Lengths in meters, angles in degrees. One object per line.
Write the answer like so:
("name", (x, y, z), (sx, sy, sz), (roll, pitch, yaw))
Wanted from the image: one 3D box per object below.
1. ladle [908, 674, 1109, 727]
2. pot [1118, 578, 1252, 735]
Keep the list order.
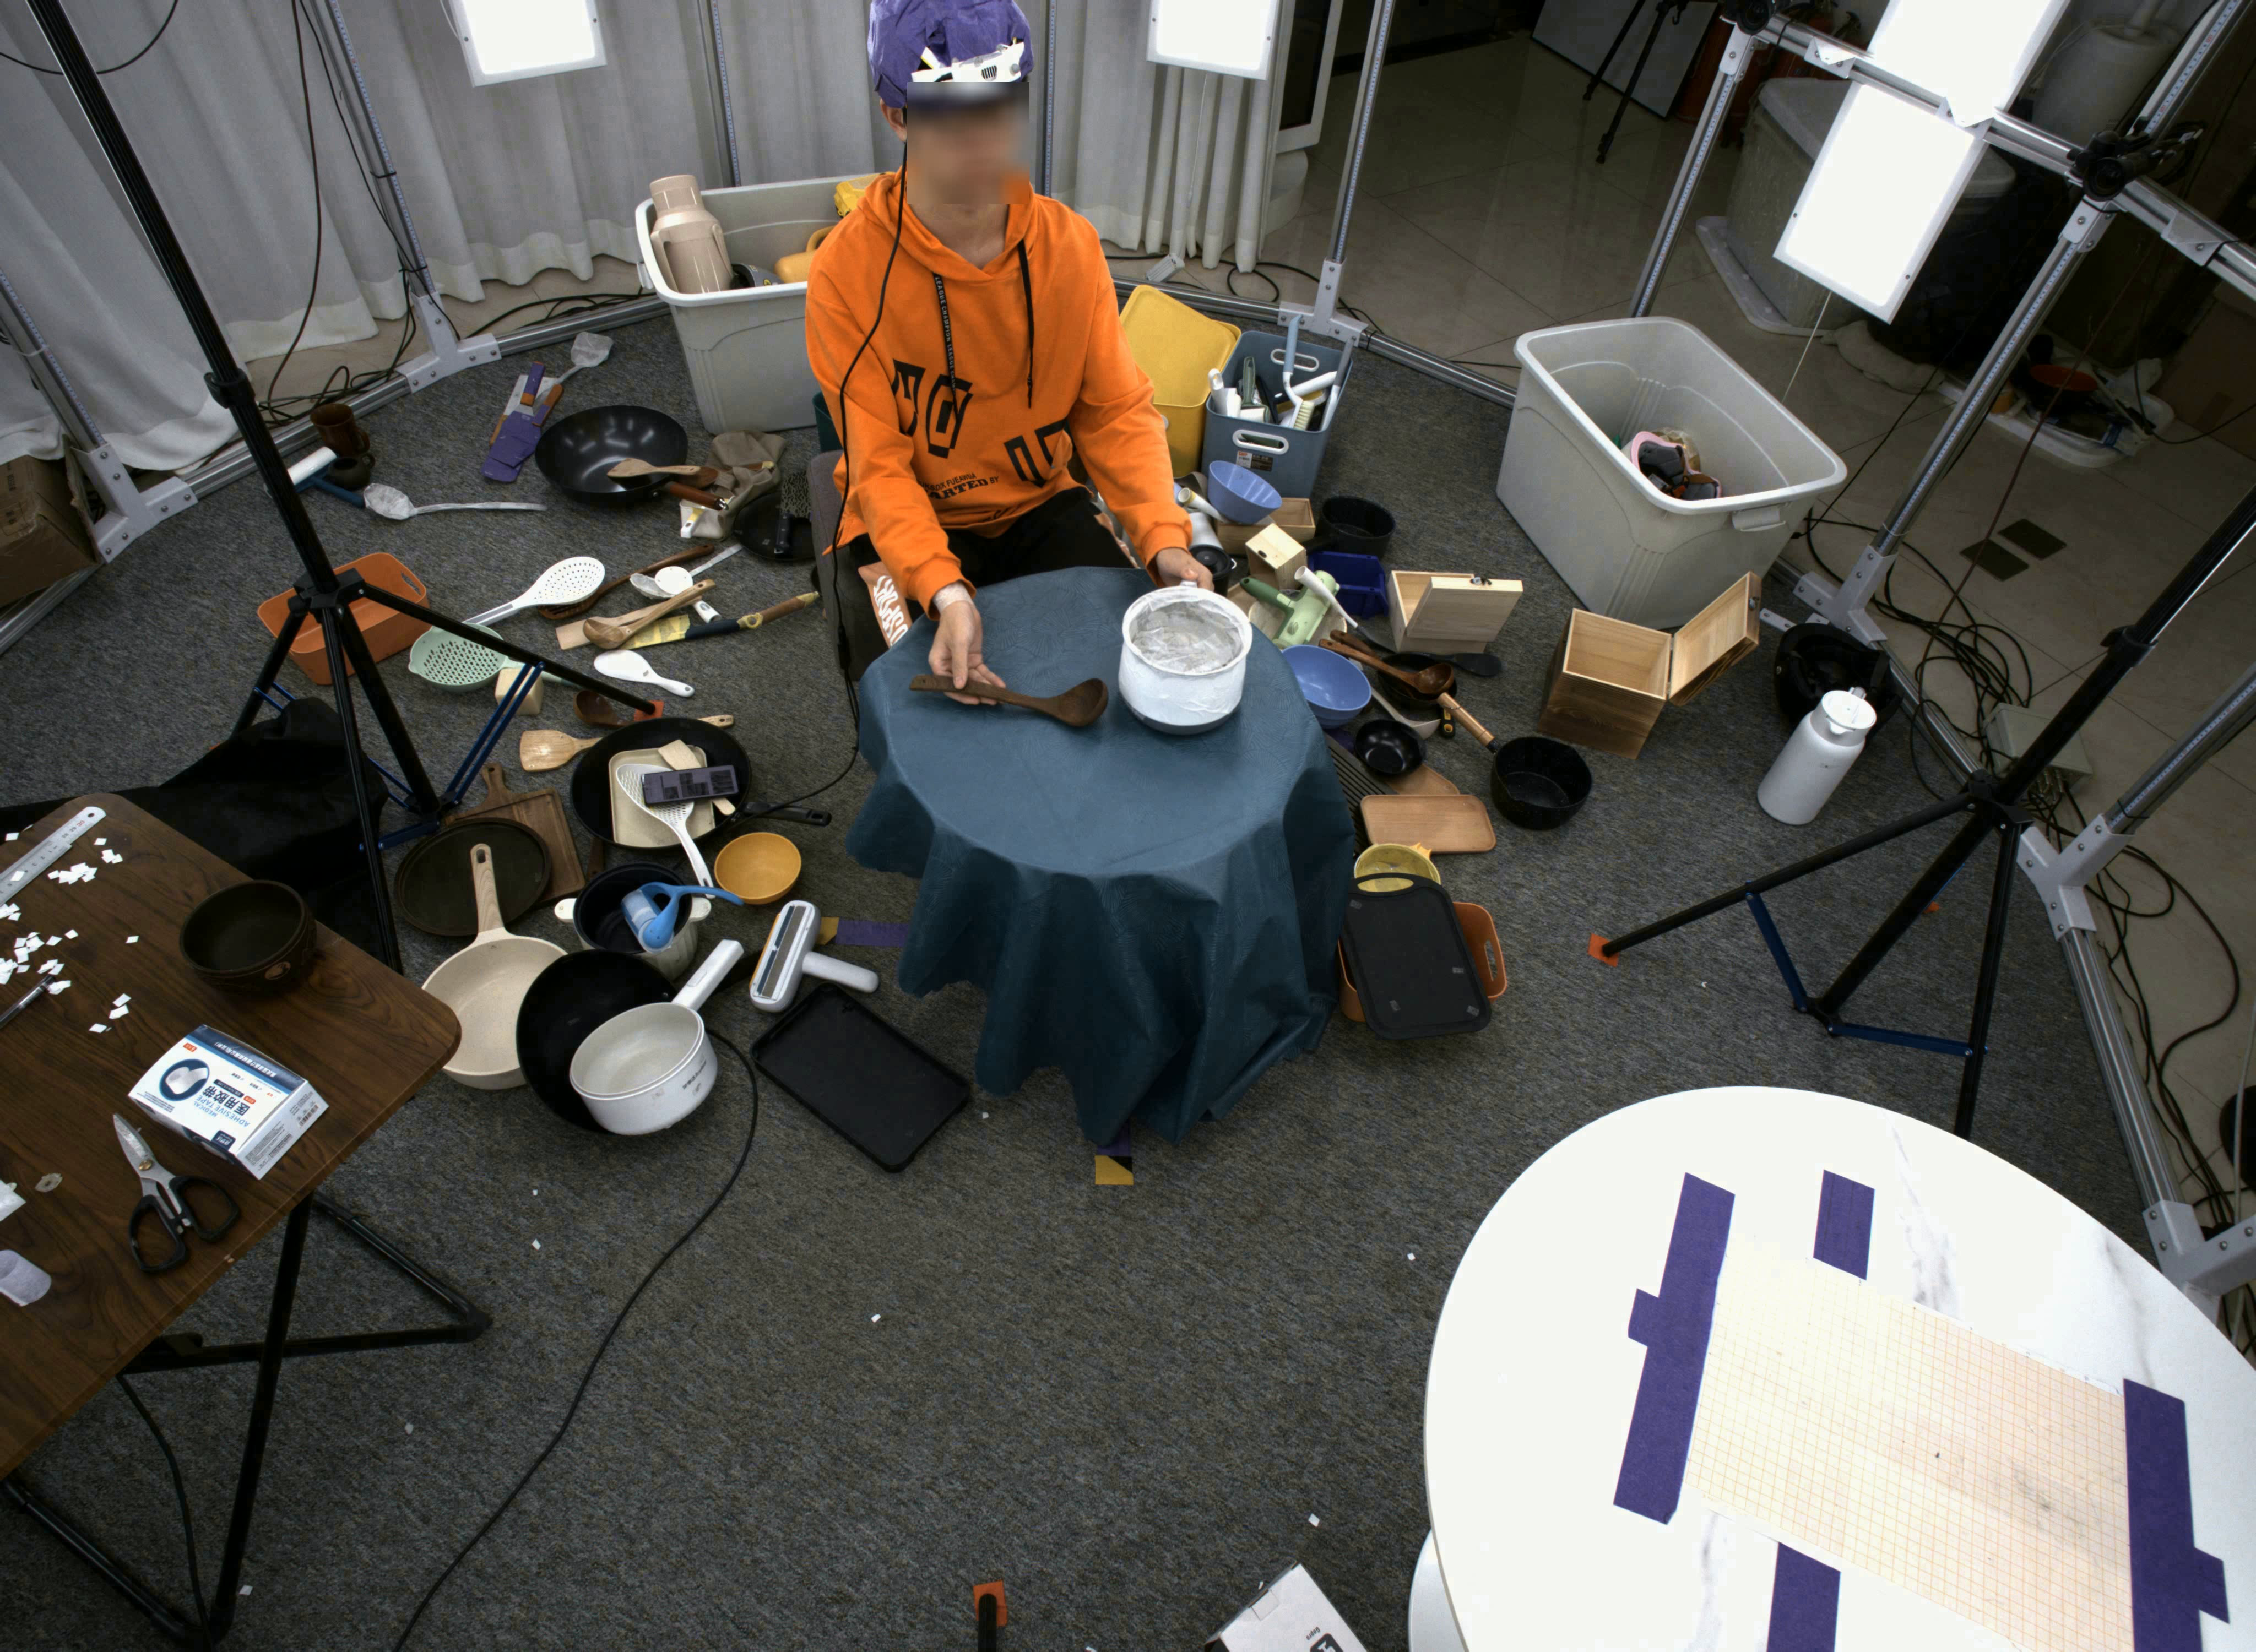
("ladle", (-0.164, -0.191, 1.766), (0.273, 0.070, 0.078), (12, 51, -4))
("pot", (0.077, -0.247, 1.799), (0.178, 0.133, 0.239), (4, 49, -2))
